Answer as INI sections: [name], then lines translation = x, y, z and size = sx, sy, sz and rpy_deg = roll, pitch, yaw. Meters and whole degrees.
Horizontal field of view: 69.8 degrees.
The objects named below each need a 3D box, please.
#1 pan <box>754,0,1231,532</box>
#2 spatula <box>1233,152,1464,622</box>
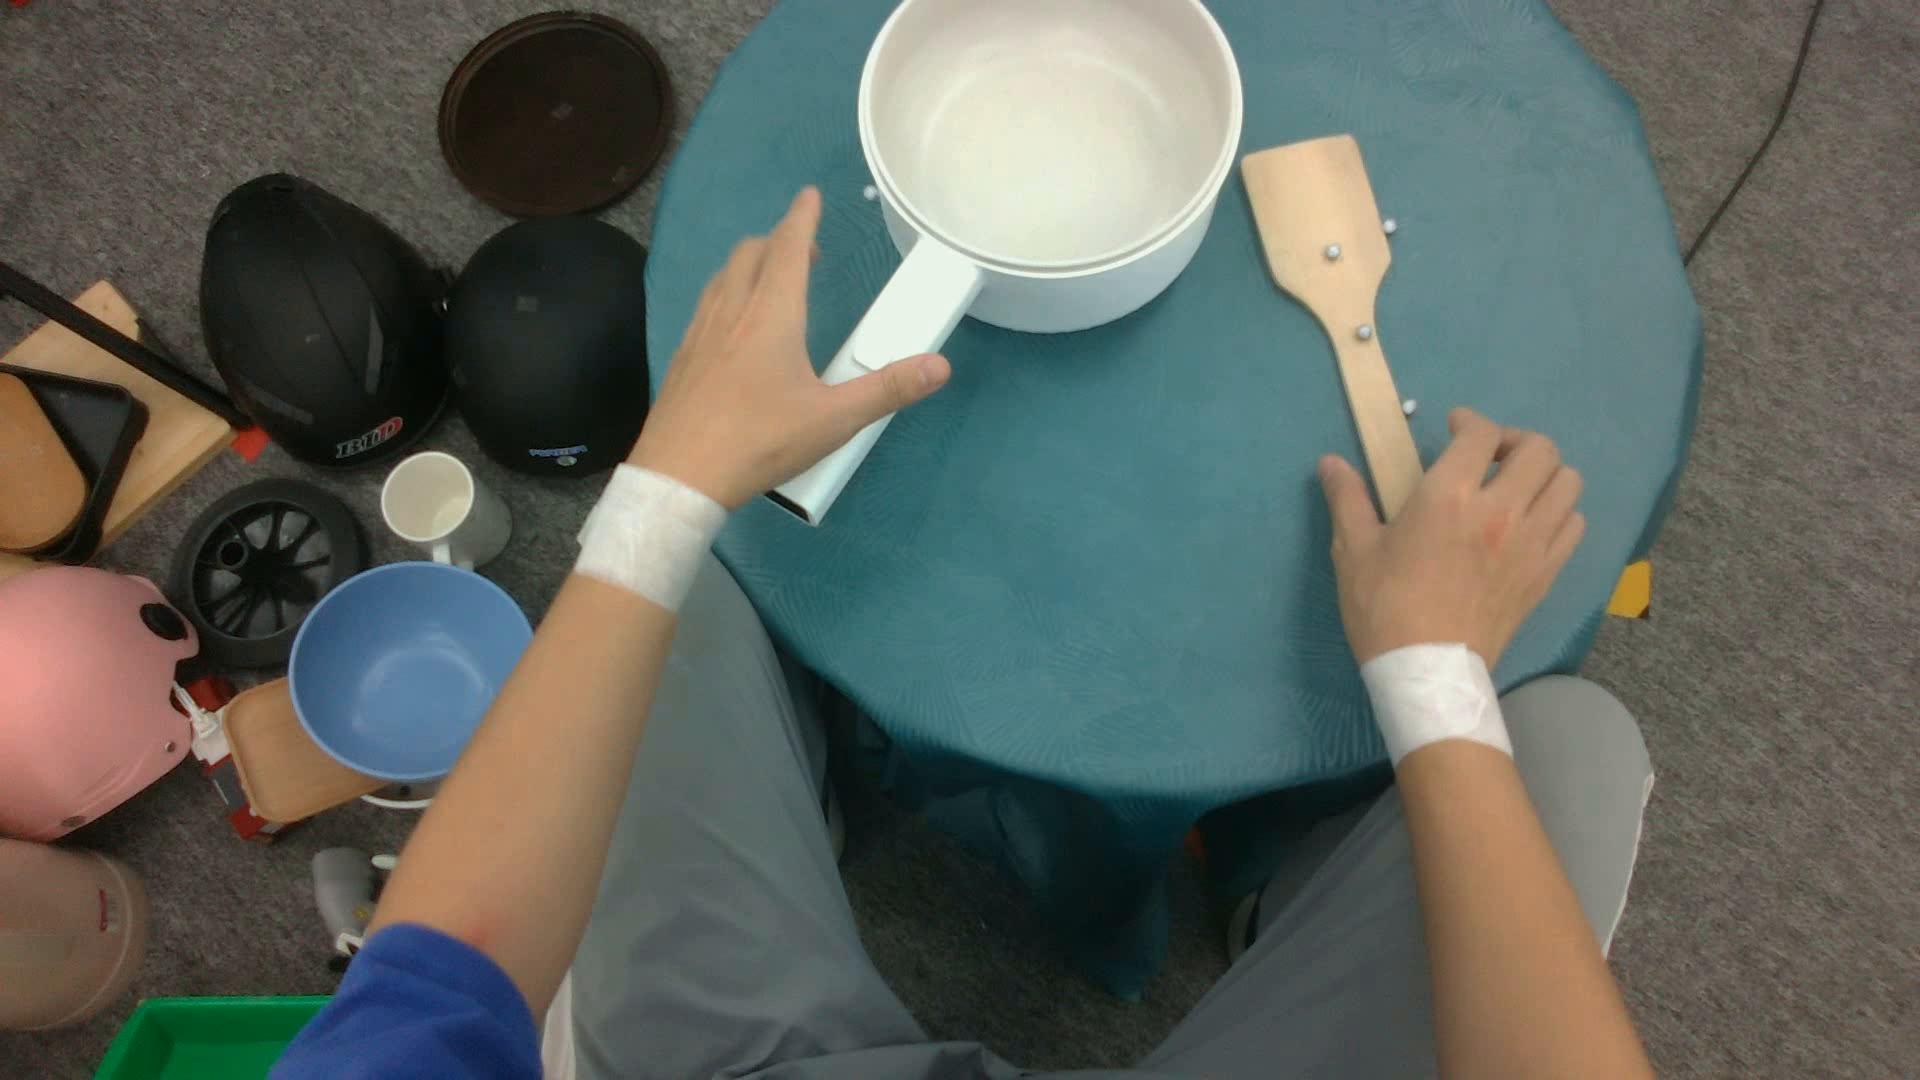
[pan]
translation = 0.007, -0.149, 0.767
size = 0.201, 0.102, 0.355
rpy_deg = 30, 76, 10
[spatula]
translation = 0.228, -0.092, 0.782
size = 0.072, 0.010, 0.293
rpy_deg = -12, 71, -2
